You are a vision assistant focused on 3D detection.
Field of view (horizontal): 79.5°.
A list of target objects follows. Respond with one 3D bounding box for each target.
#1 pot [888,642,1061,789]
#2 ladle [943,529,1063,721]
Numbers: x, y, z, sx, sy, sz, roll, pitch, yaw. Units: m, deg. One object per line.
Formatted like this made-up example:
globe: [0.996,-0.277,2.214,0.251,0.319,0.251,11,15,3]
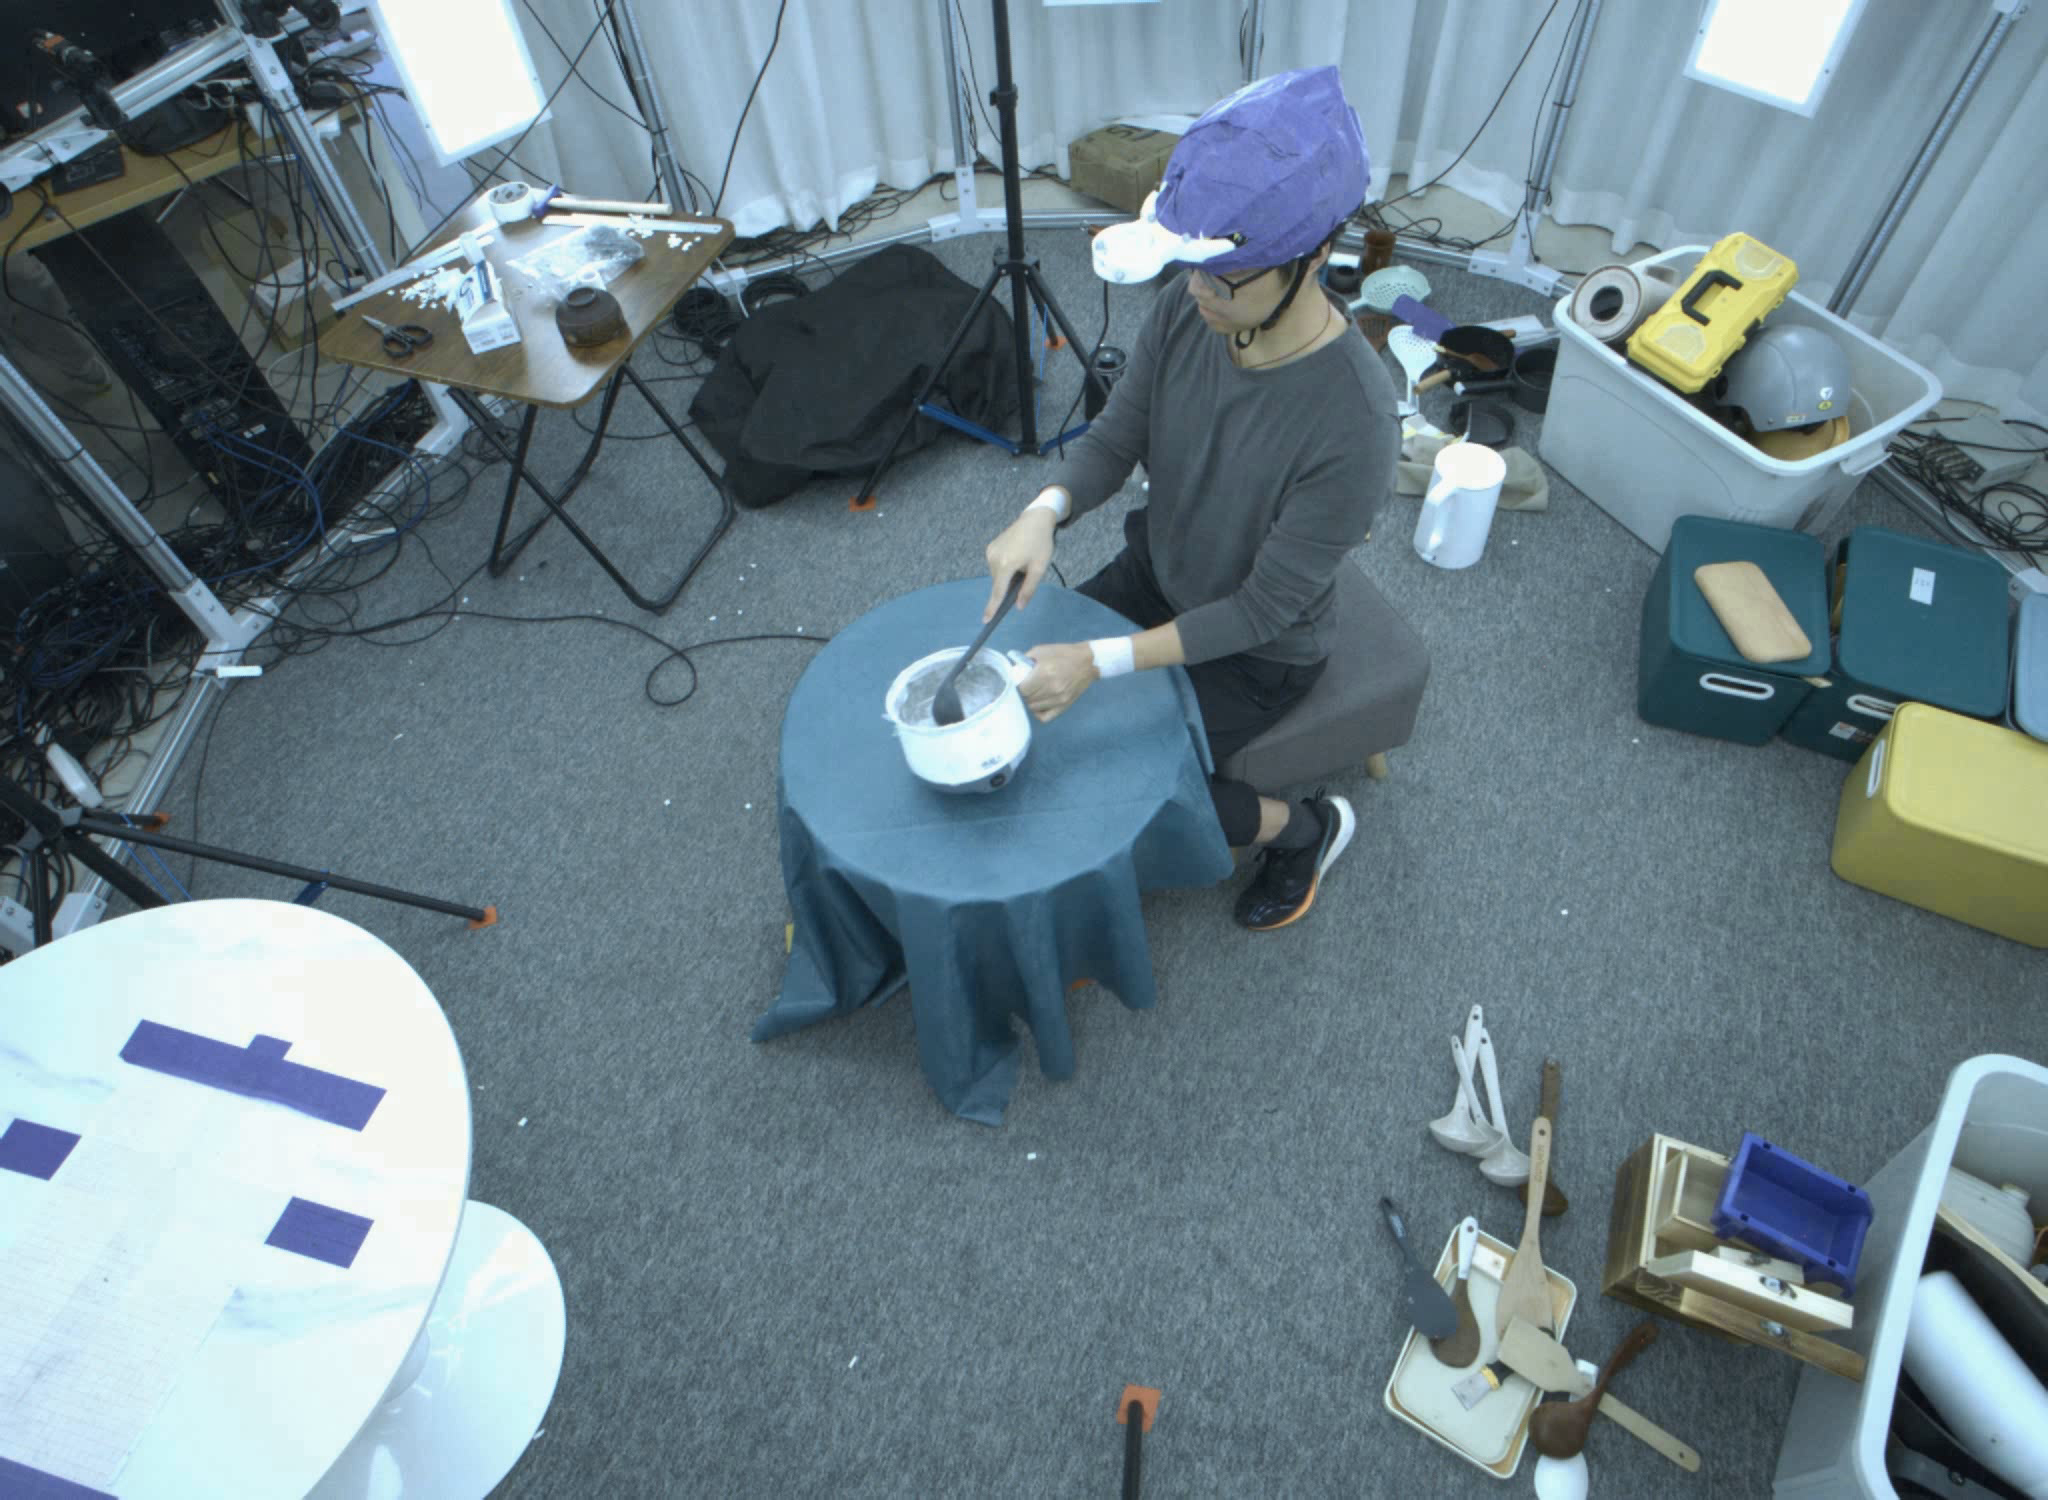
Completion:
pot: [-0.061,-0.057,1.706,0.235,0.139,0.174,-30,43,-14]
ladle: [-0.016,-0.171,1.714,0.065,0.084,0.314,38,77,-23]
